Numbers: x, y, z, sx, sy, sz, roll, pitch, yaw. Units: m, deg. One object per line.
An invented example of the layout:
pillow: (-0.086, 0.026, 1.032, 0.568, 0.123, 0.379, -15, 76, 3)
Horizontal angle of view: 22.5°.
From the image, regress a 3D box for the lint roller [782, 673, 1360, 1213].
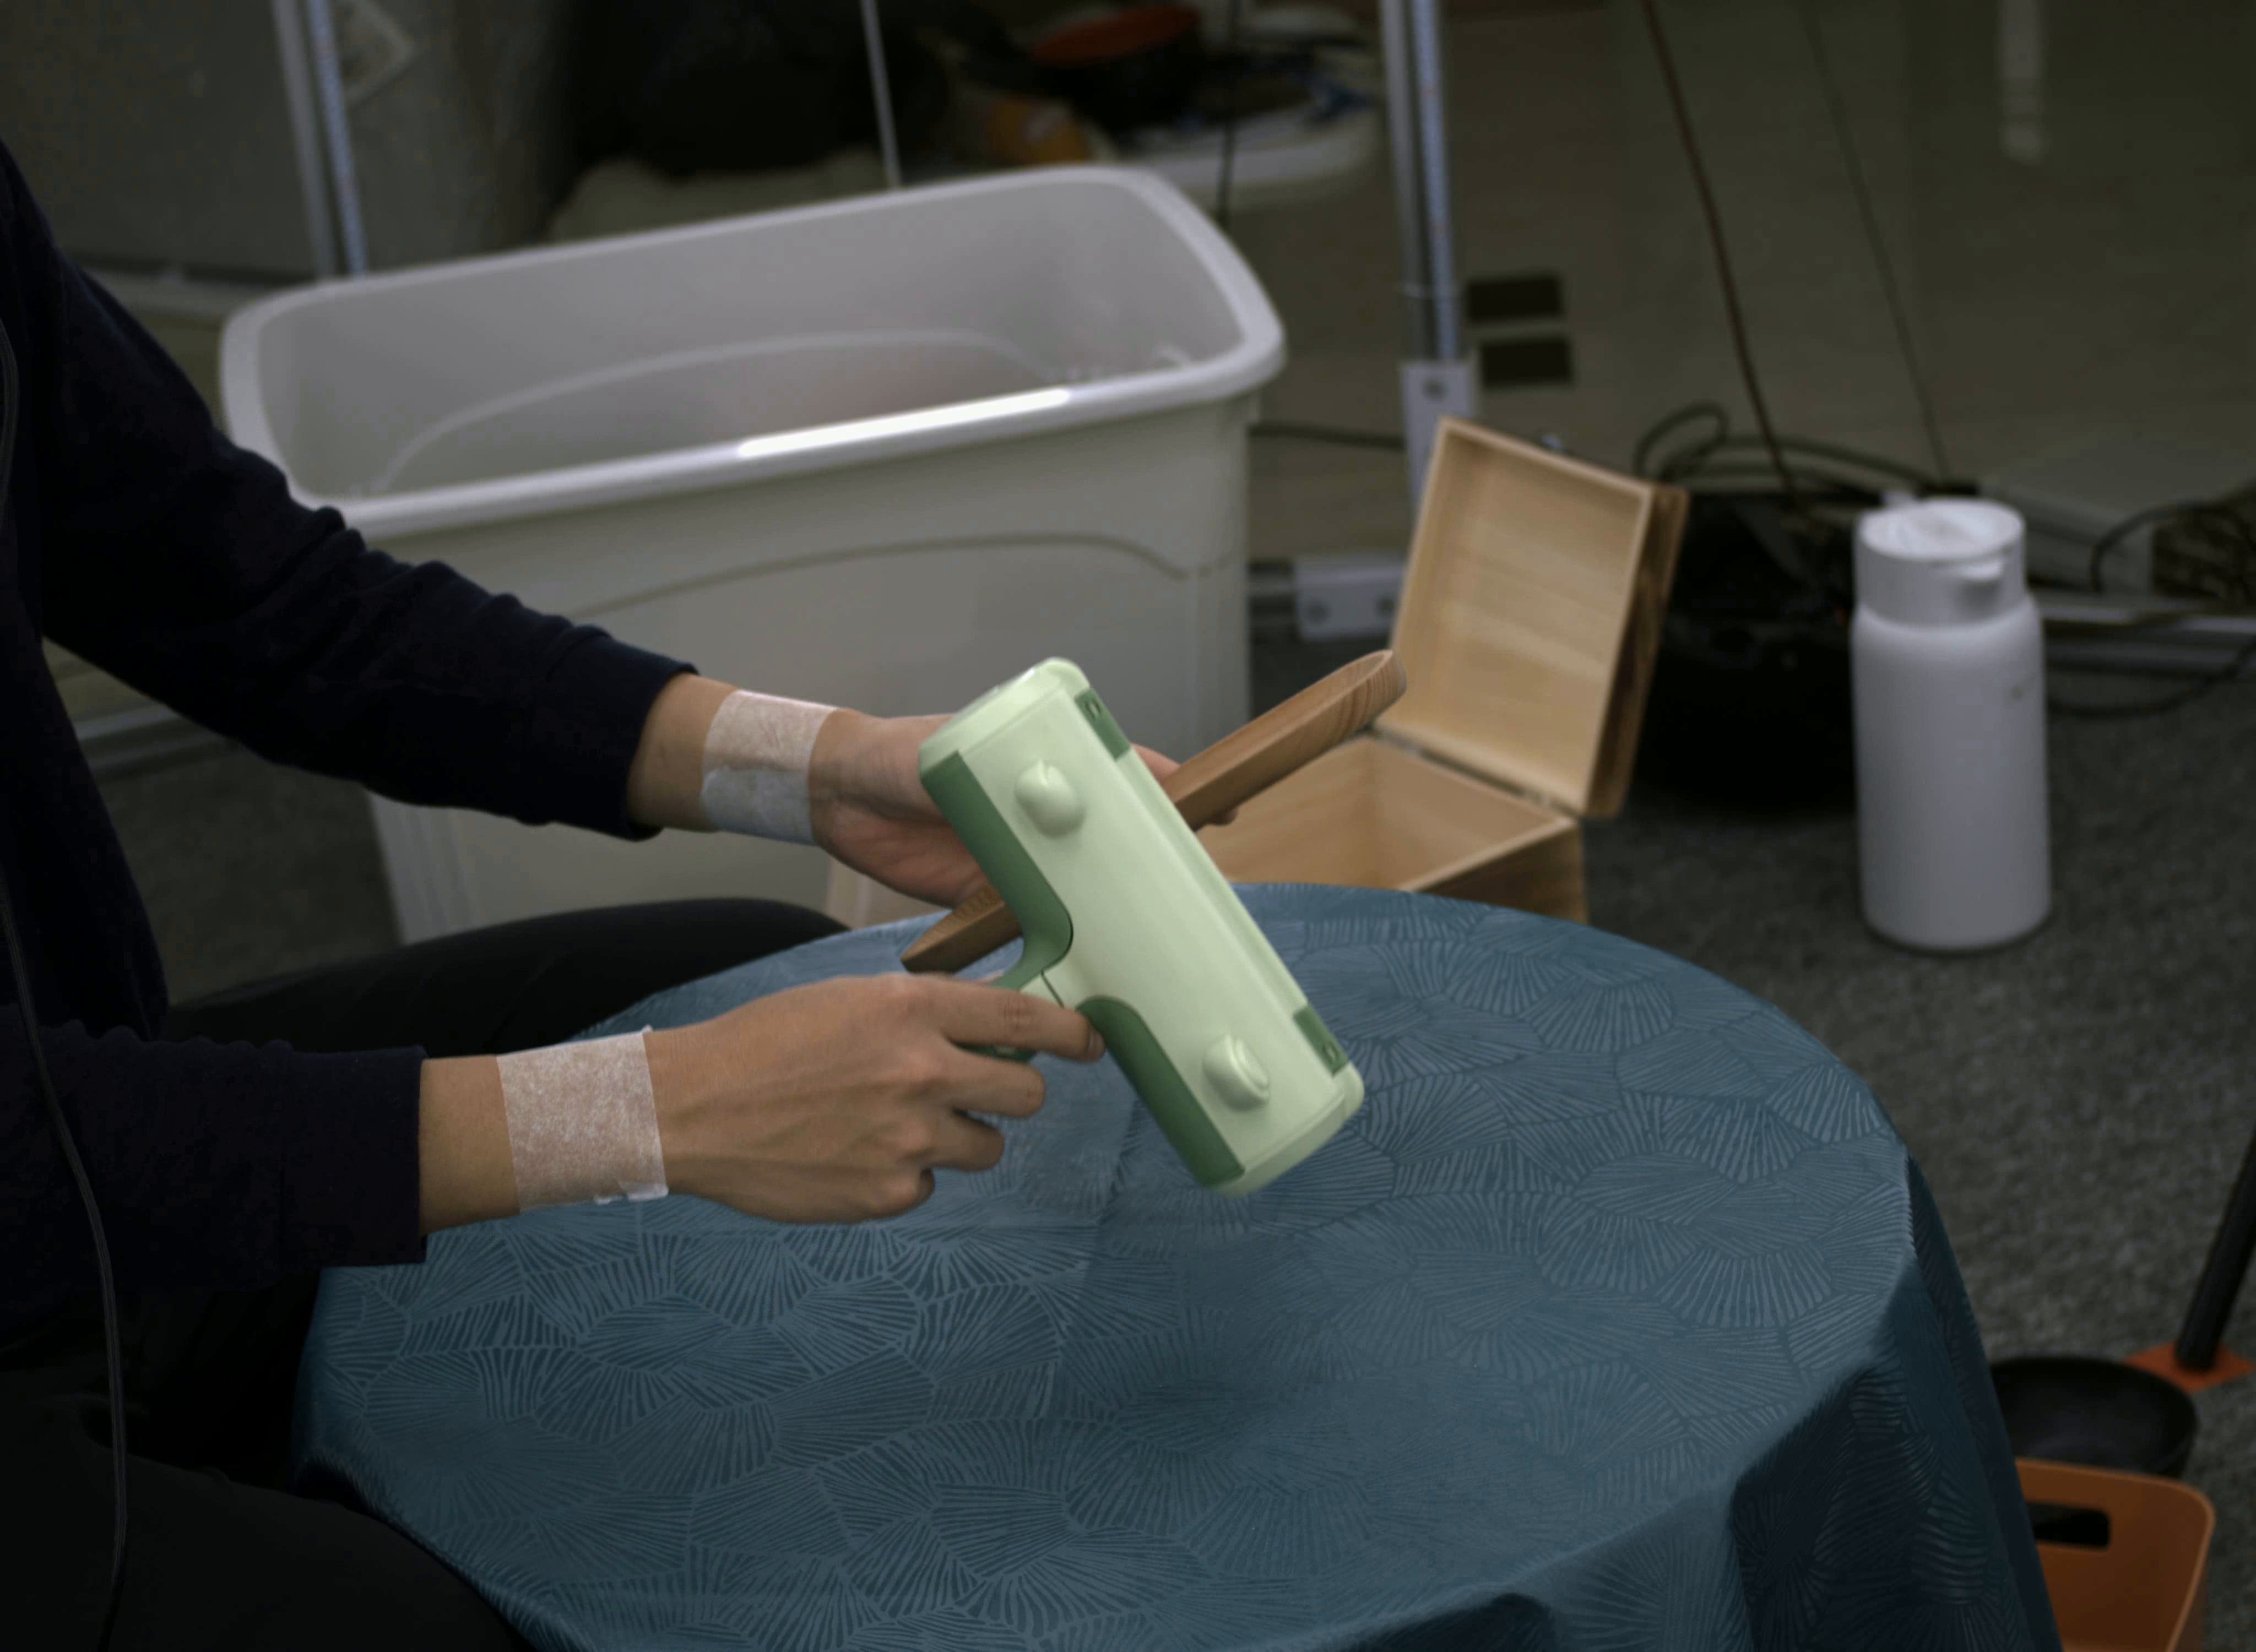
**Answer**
lint roller: (-0.039, 0.072, 1.960, 0.182, 0.199, 0.082, -37, 5, -21)

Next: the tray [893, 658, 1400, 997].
tray: (0.007, 0.002, 2.132, 0.233, 0.020, 0.100, -33, 5, 25)
